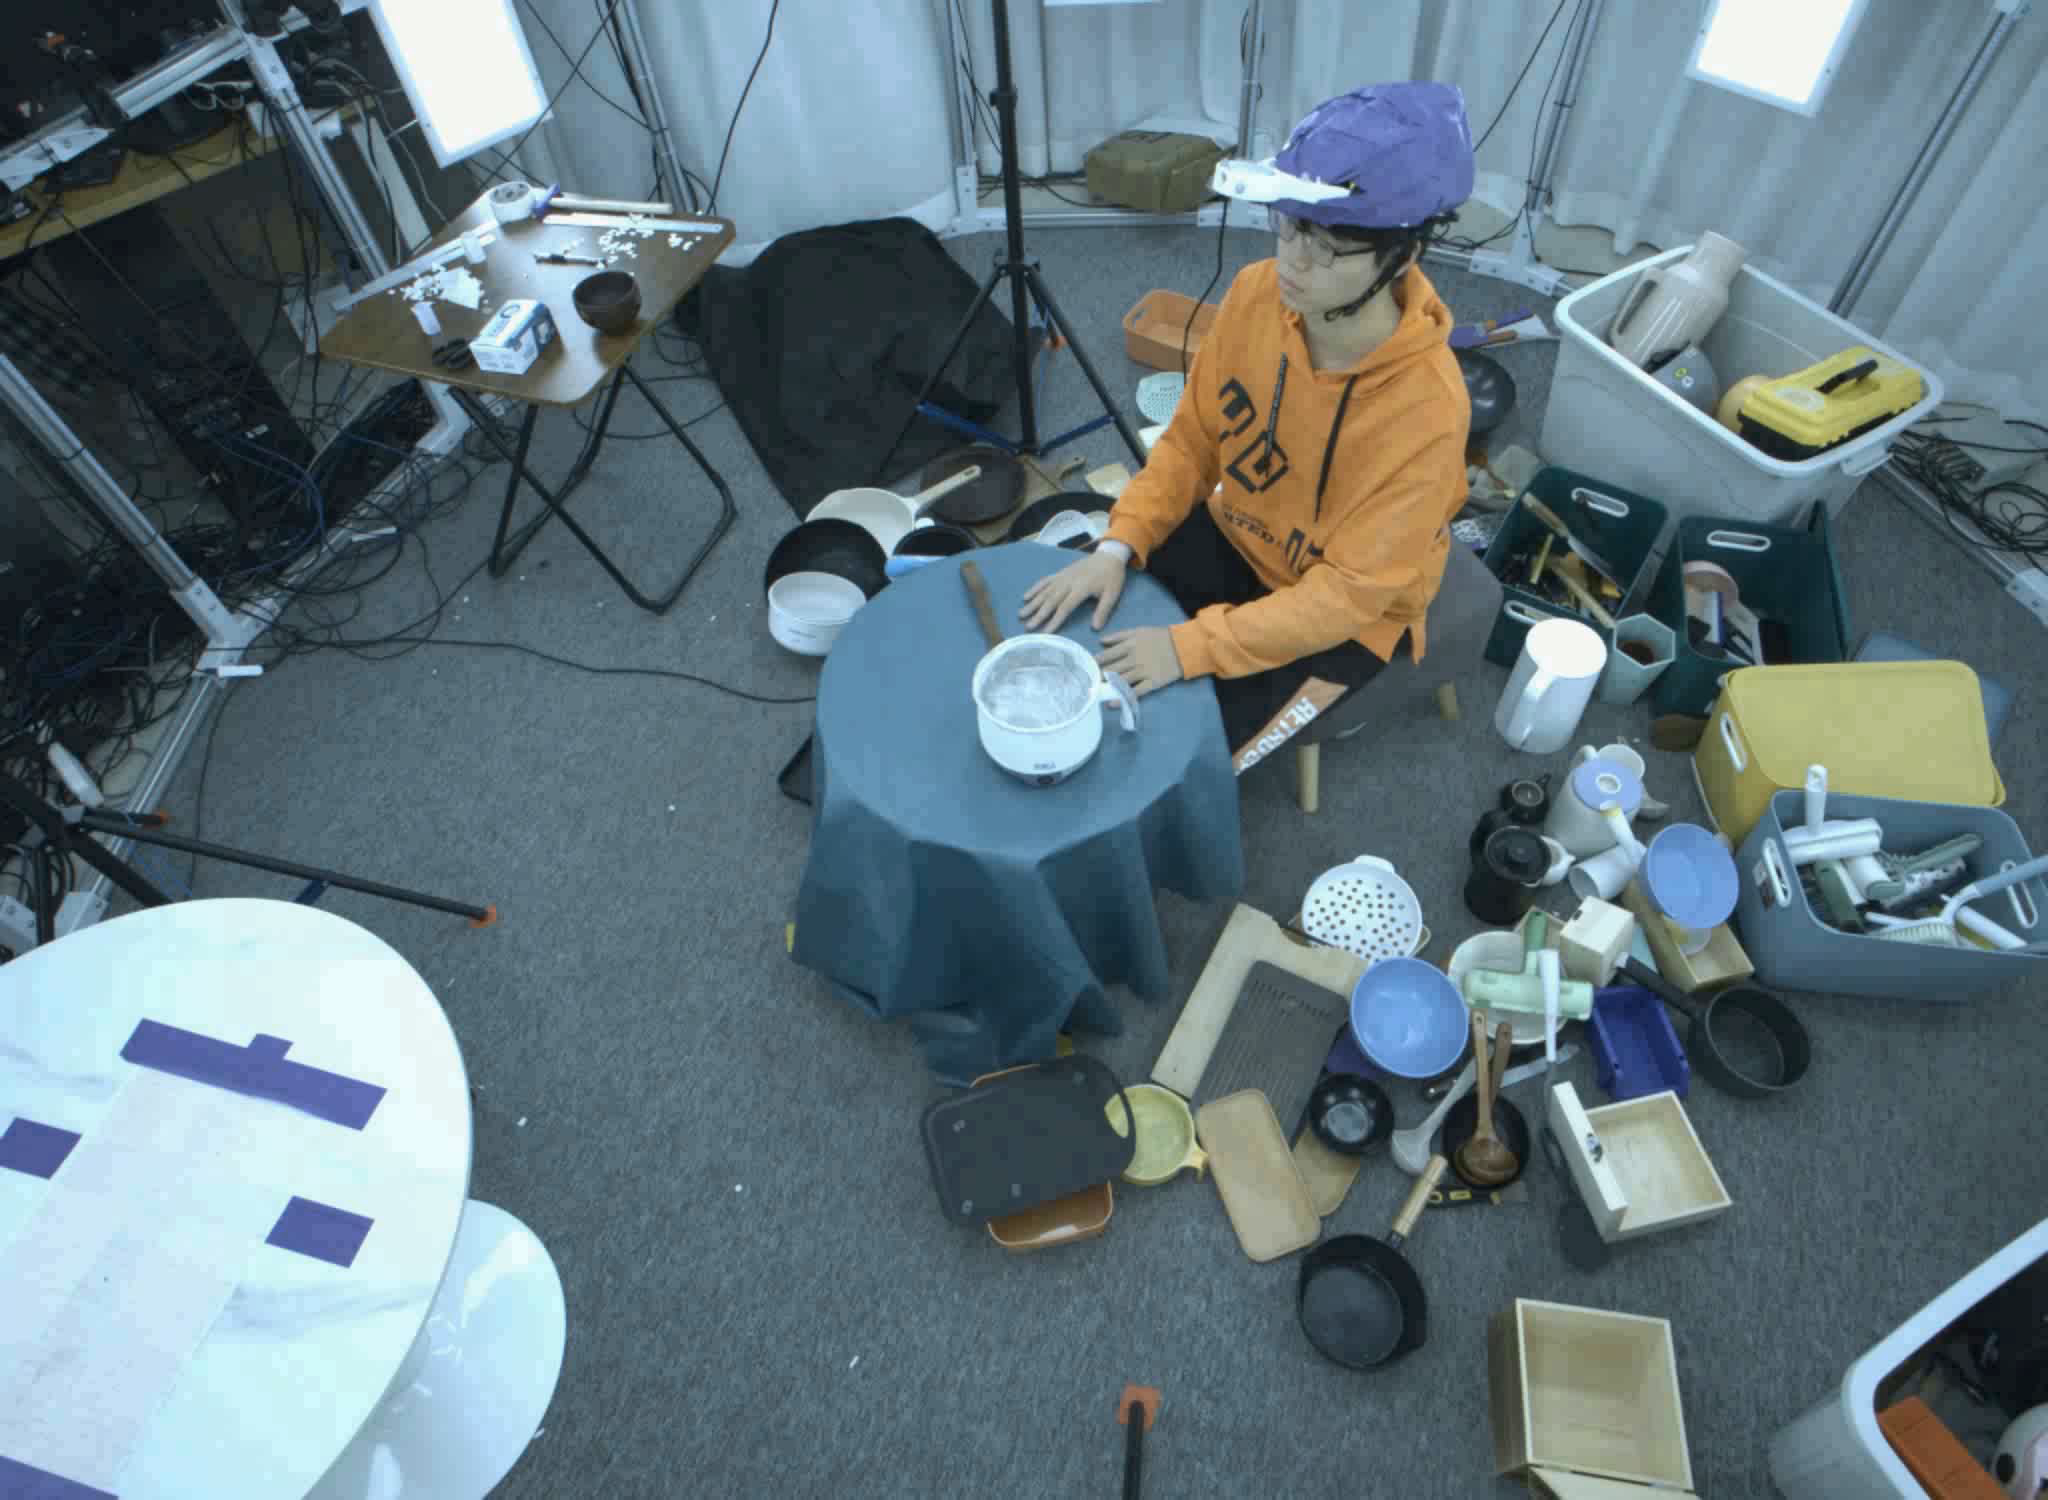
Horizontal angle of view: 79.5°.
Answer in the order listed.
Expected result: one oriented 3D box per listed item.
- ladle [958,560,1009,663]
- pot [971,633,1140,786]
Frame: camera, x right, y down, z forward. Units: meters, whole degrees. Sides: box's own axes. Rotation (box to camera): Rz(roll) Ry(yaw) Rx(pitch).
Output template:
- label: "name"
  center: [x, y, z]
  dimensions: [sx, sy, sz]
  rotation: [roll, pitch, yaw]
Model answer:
- label: "ladle"
  center: [-0.060, -0.222, 1.903]
  dimensions: [0.076, 0.072, 0.269]
  rotation: [-13, 56, -10]
- label: "pot"
  center: [0.048, -0.060, 1.743]
  dimensions: [0.234, 0.138, 0.176]
  rotation: [-7, 55, -2]
